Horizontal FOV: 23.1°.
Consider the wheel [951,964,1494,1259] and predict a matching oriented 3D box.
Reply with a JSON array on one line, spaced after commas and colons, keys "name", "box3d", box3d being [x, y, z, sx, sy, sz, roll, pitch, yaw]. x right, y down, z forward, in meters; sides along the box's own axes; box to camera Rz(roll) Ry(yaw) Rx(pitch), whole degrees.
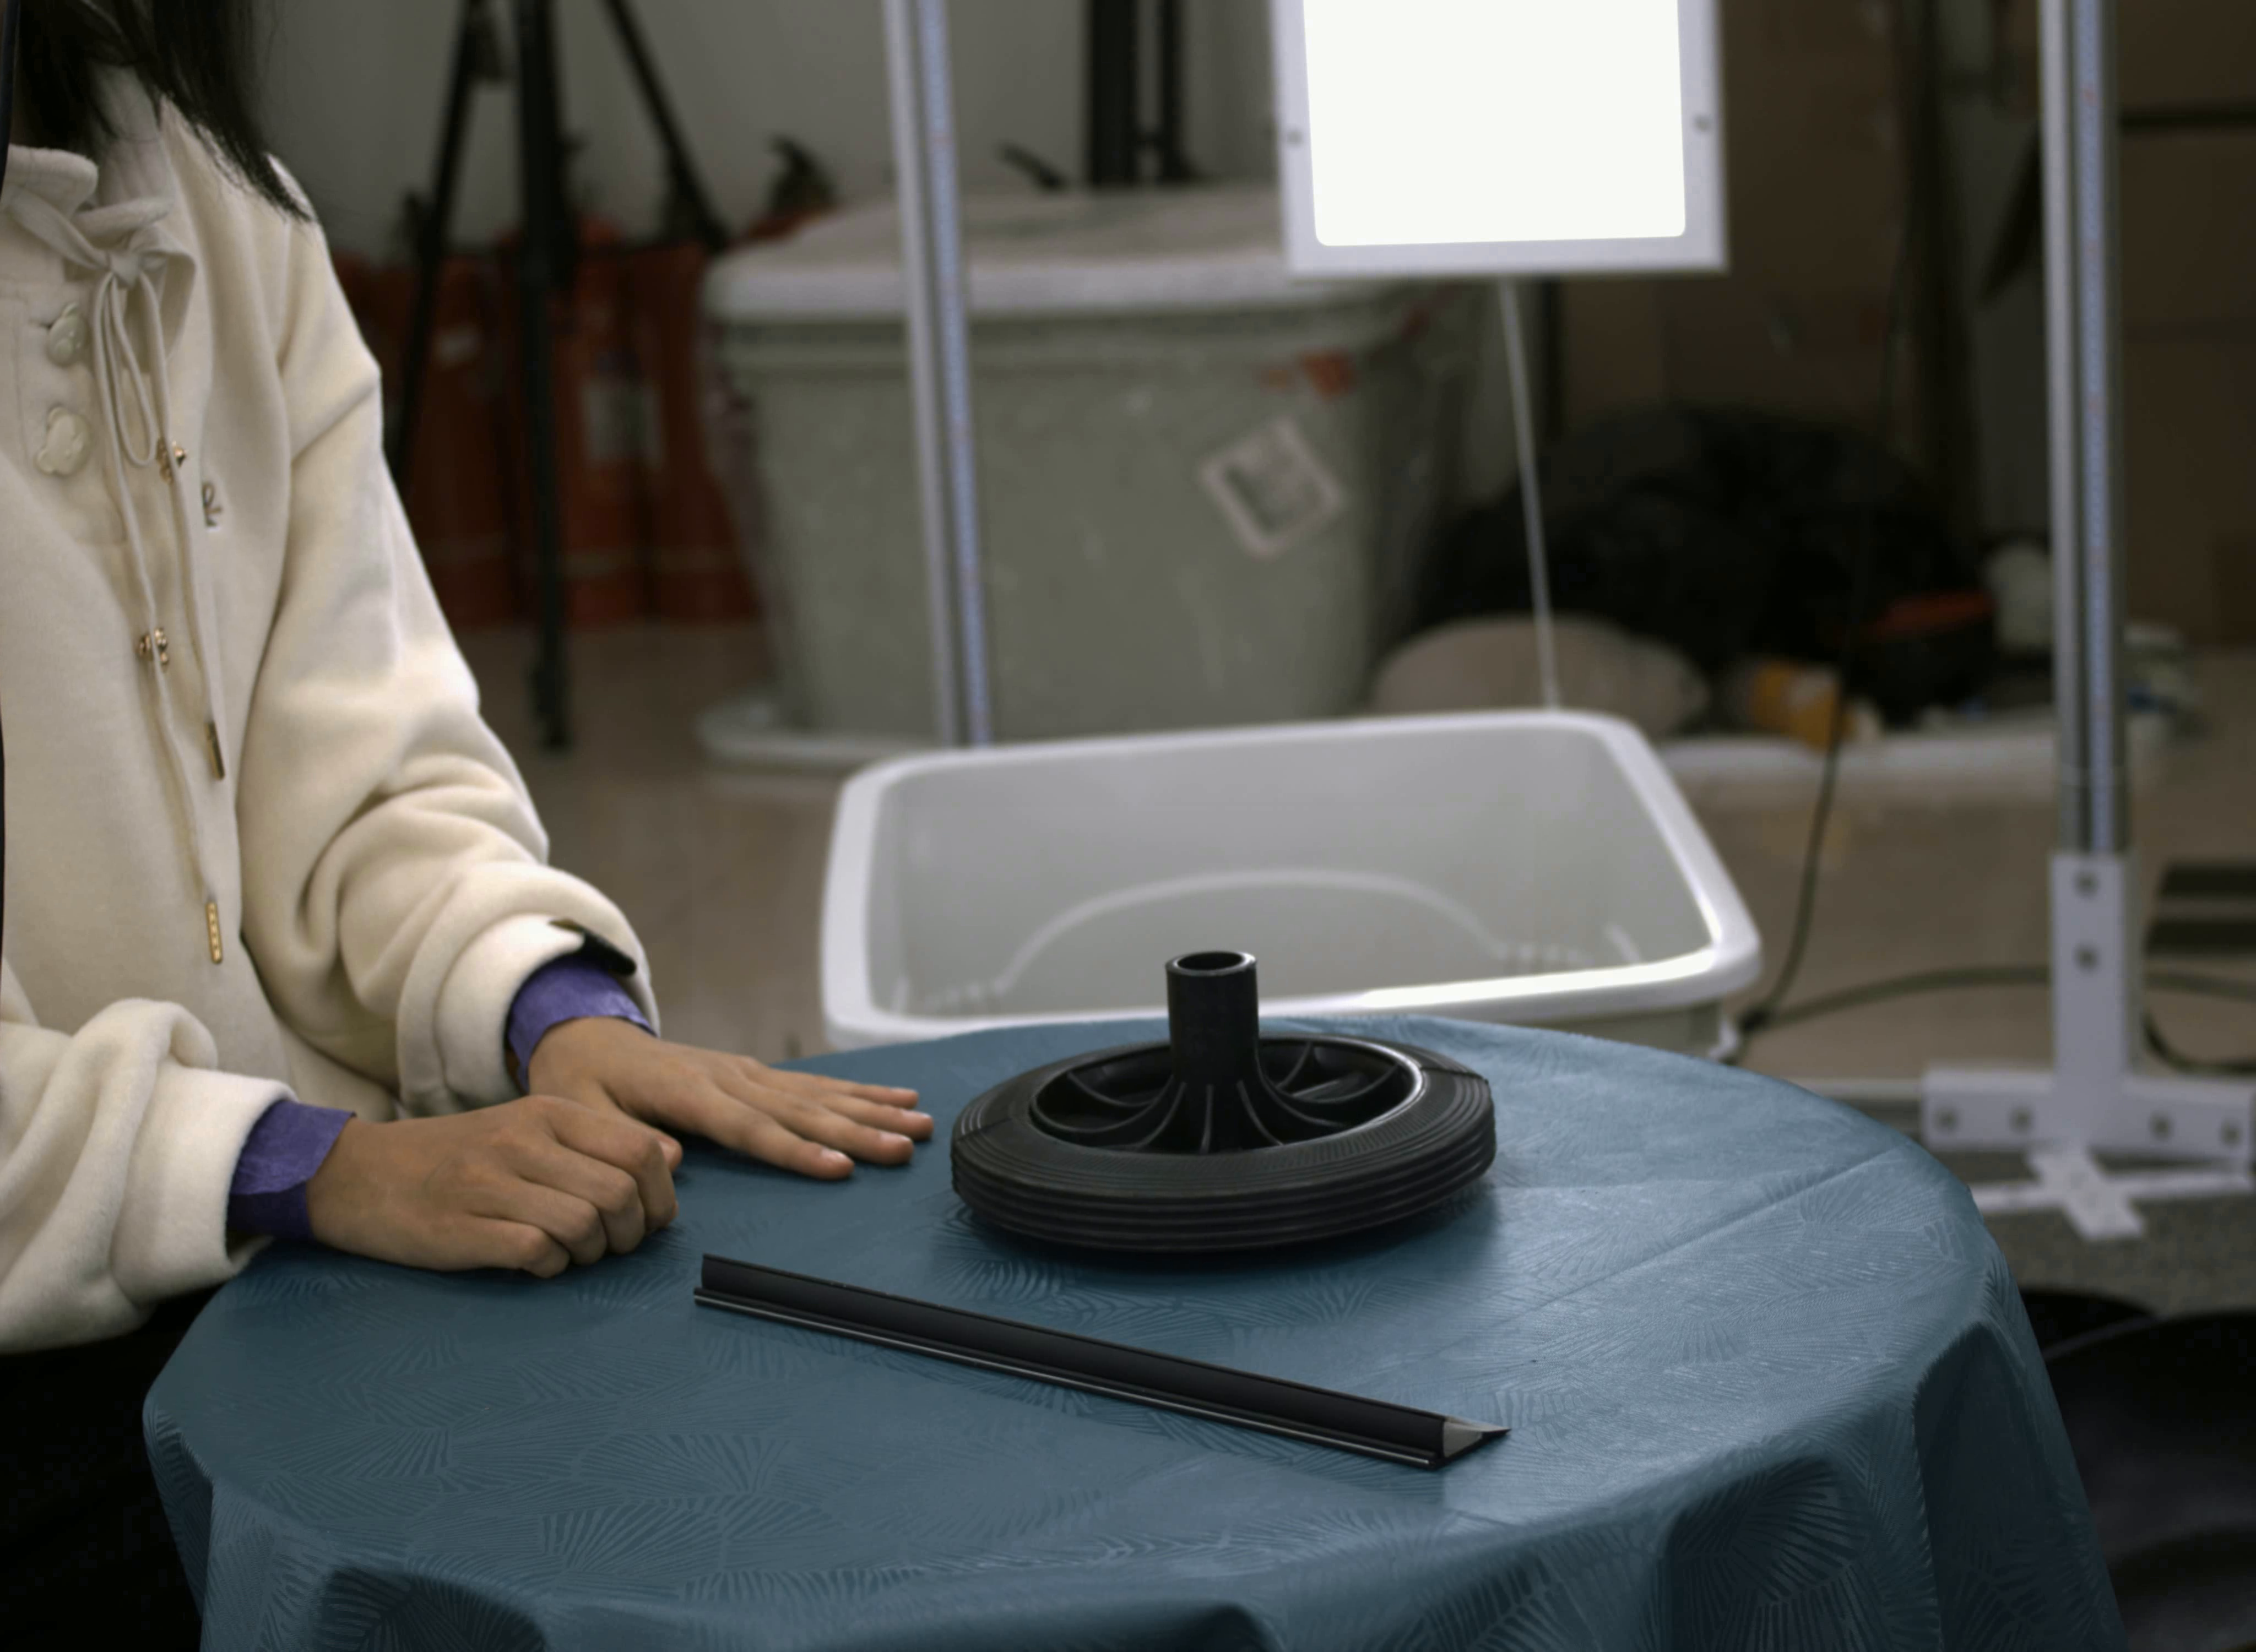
[{"name": "wheel", "box3d": [0.031, 0.089, 1.881, 0.191, 0.079, 0.186, 3, 15, 28]}]

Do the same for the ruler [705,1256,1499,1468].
[{"name": "ruler", "box3d": [-0.014, 0.162, 1.726, 0.319, 0.017, 0.038, 7, 15, 43]}]
